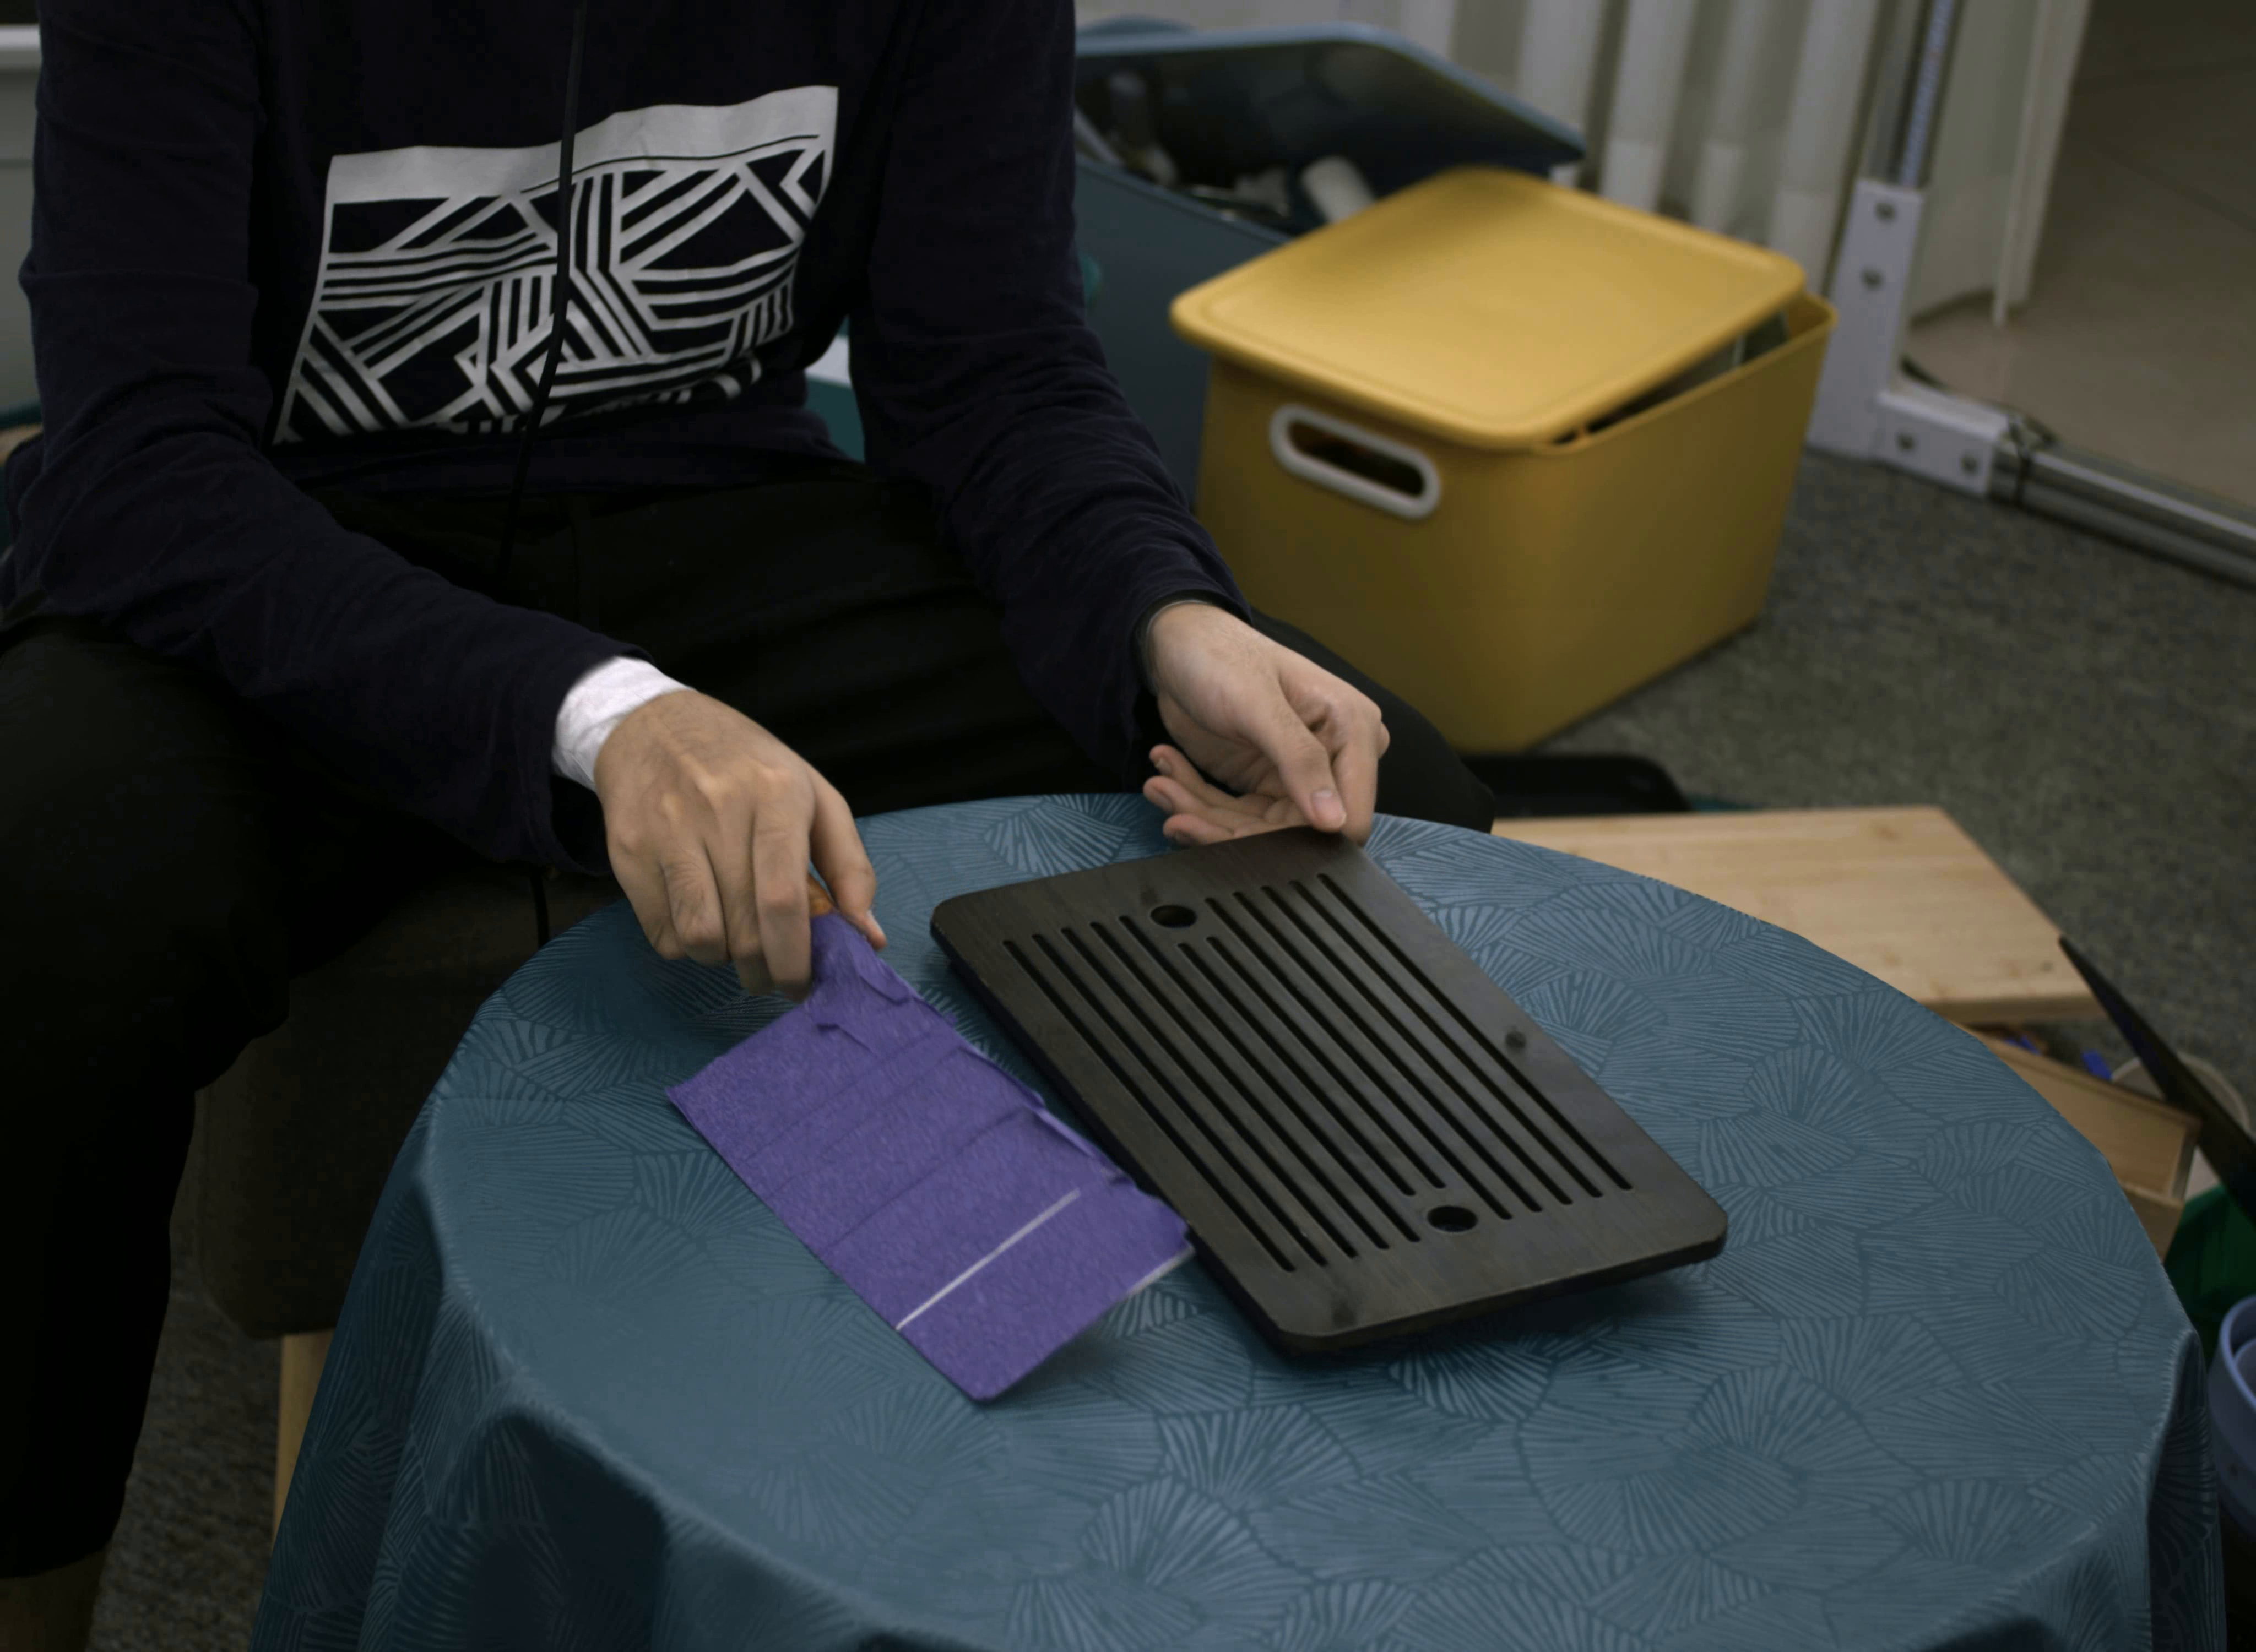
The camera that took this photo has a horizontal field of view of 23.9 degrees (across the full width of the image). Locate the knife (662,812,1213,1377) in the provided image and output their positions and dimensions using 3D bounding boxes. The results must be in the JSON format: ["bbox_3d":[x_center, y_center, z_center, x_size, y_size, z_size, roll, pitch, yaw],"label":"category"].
[{"bbox_3d":[-0.096,0.086,1.798,0.103,0.032,0.318,-35,39,-16],"label":"knife"}]

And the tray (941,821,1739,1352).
[{"bbox_3d":[0.068,0.087,1.857,0.169,0.018,0.309,-11,32,-22],"label":"tray"}]
